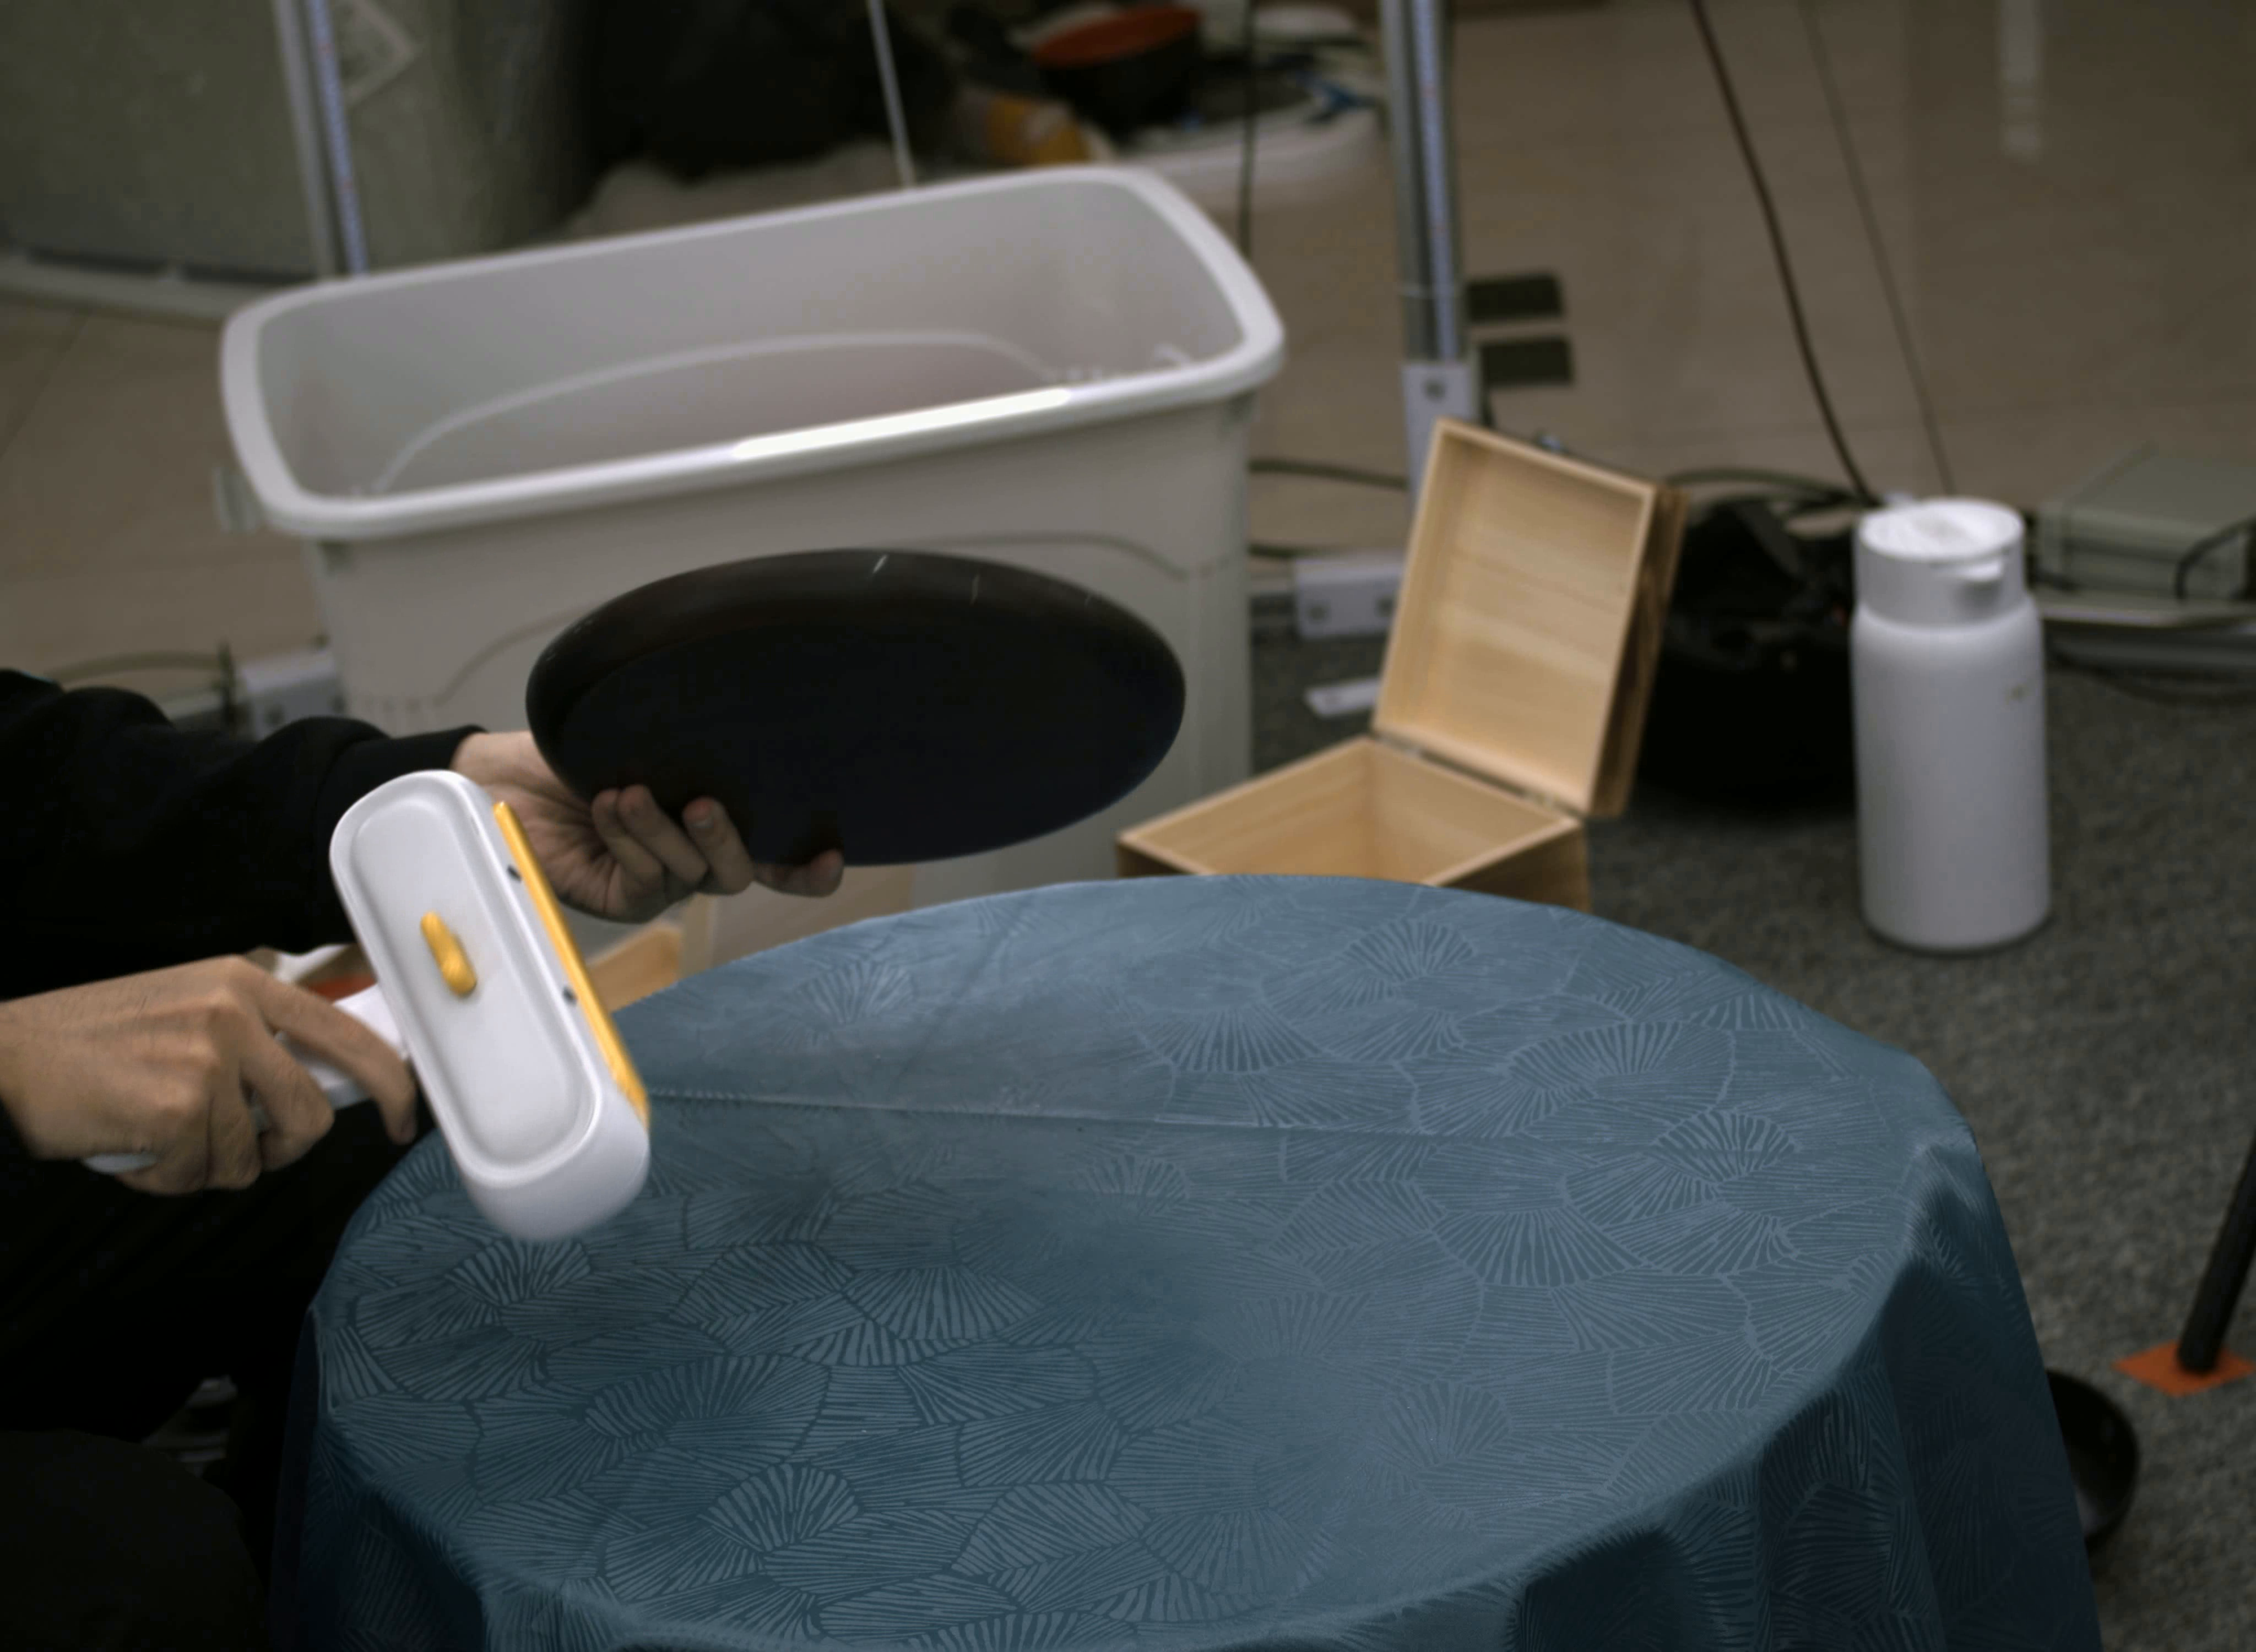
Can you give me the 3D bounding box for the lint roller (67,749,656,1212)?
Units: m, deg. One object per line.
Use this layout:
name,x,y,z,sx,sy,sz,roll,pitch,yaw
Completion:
lint roller,-0.283,0.077,2.011,0.192,0.075,0.190,-28,63,-8

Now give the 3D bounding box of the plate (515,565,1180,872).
plate,-0.106,-0.037,2.151,0.254,0.258,0.028,-4,67,4
